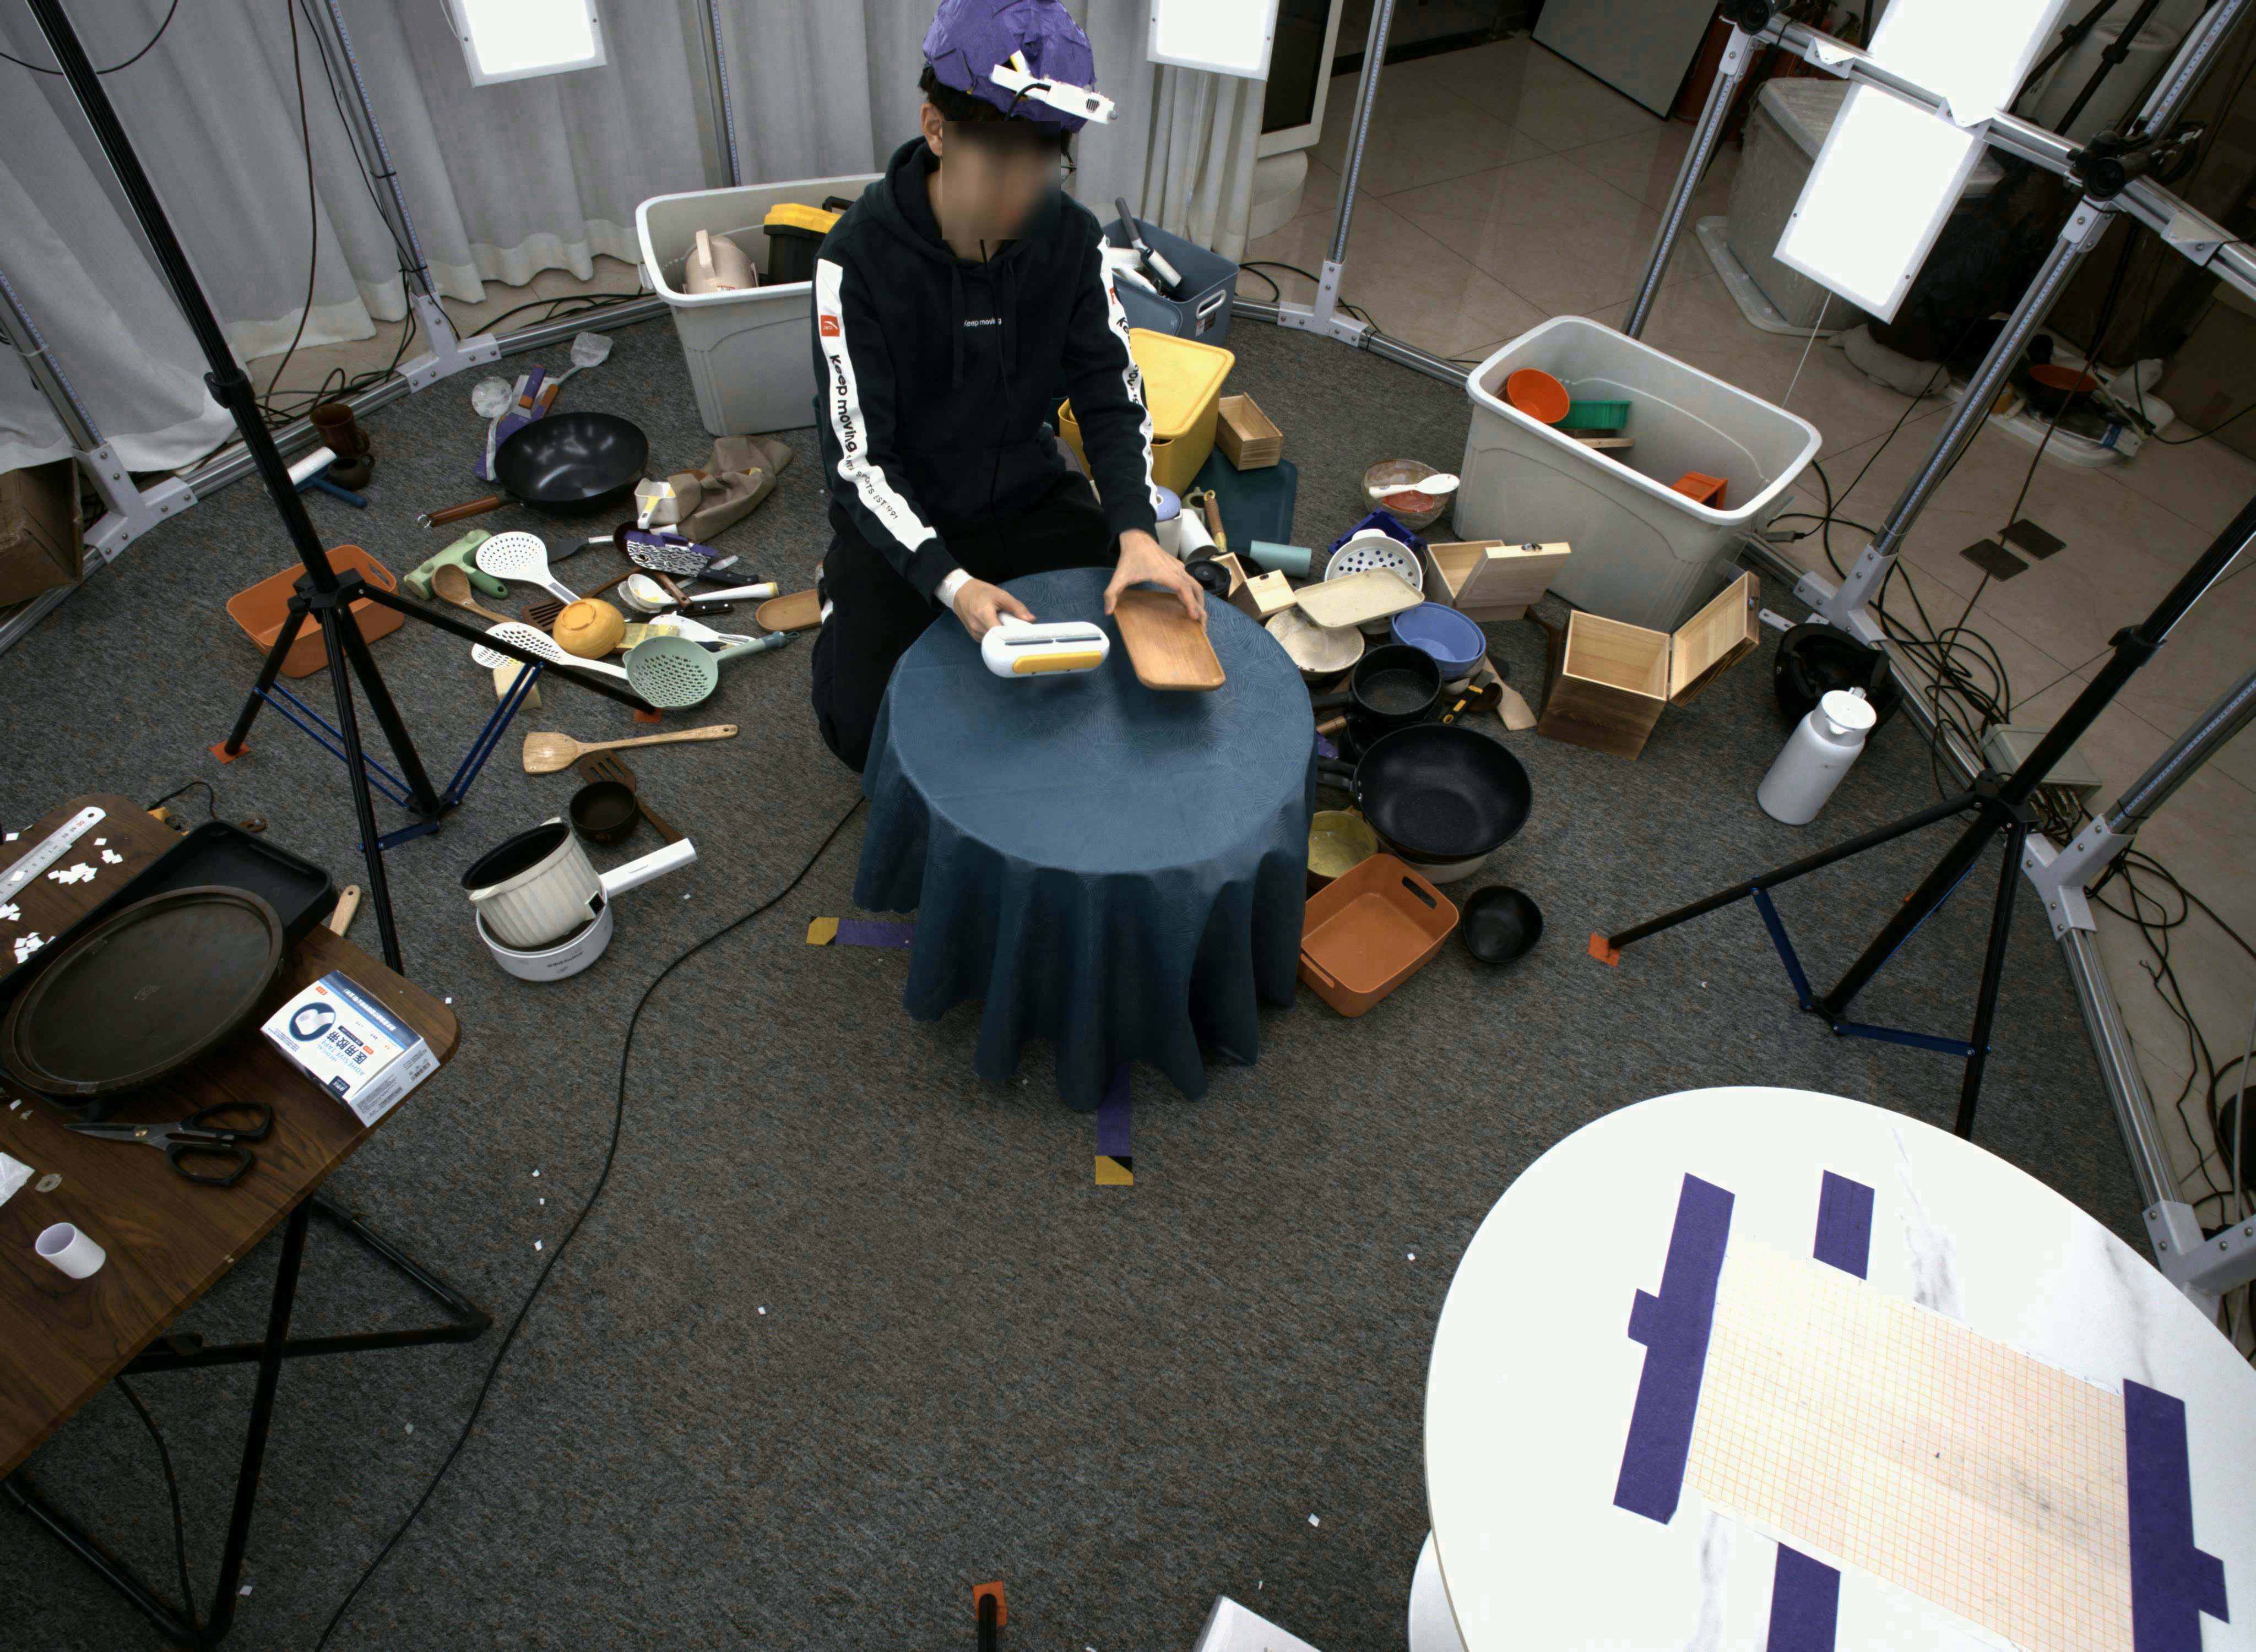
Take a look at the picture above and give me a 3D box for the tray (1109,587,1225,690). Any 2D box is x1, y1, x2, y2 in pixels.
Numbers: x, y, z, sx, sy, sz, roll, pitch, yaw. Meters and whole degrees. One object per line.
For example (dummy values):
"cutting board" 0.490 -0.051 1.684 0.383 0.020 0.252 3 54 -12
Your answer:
"tray" 0.052 -0.270 1.835 0.130 0.022 0.257 4 38 -17

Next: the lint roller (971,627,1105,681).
"lint roller" -0.151 -0.258 1.813 0.192 0.073 0.196 -8 29 -30
